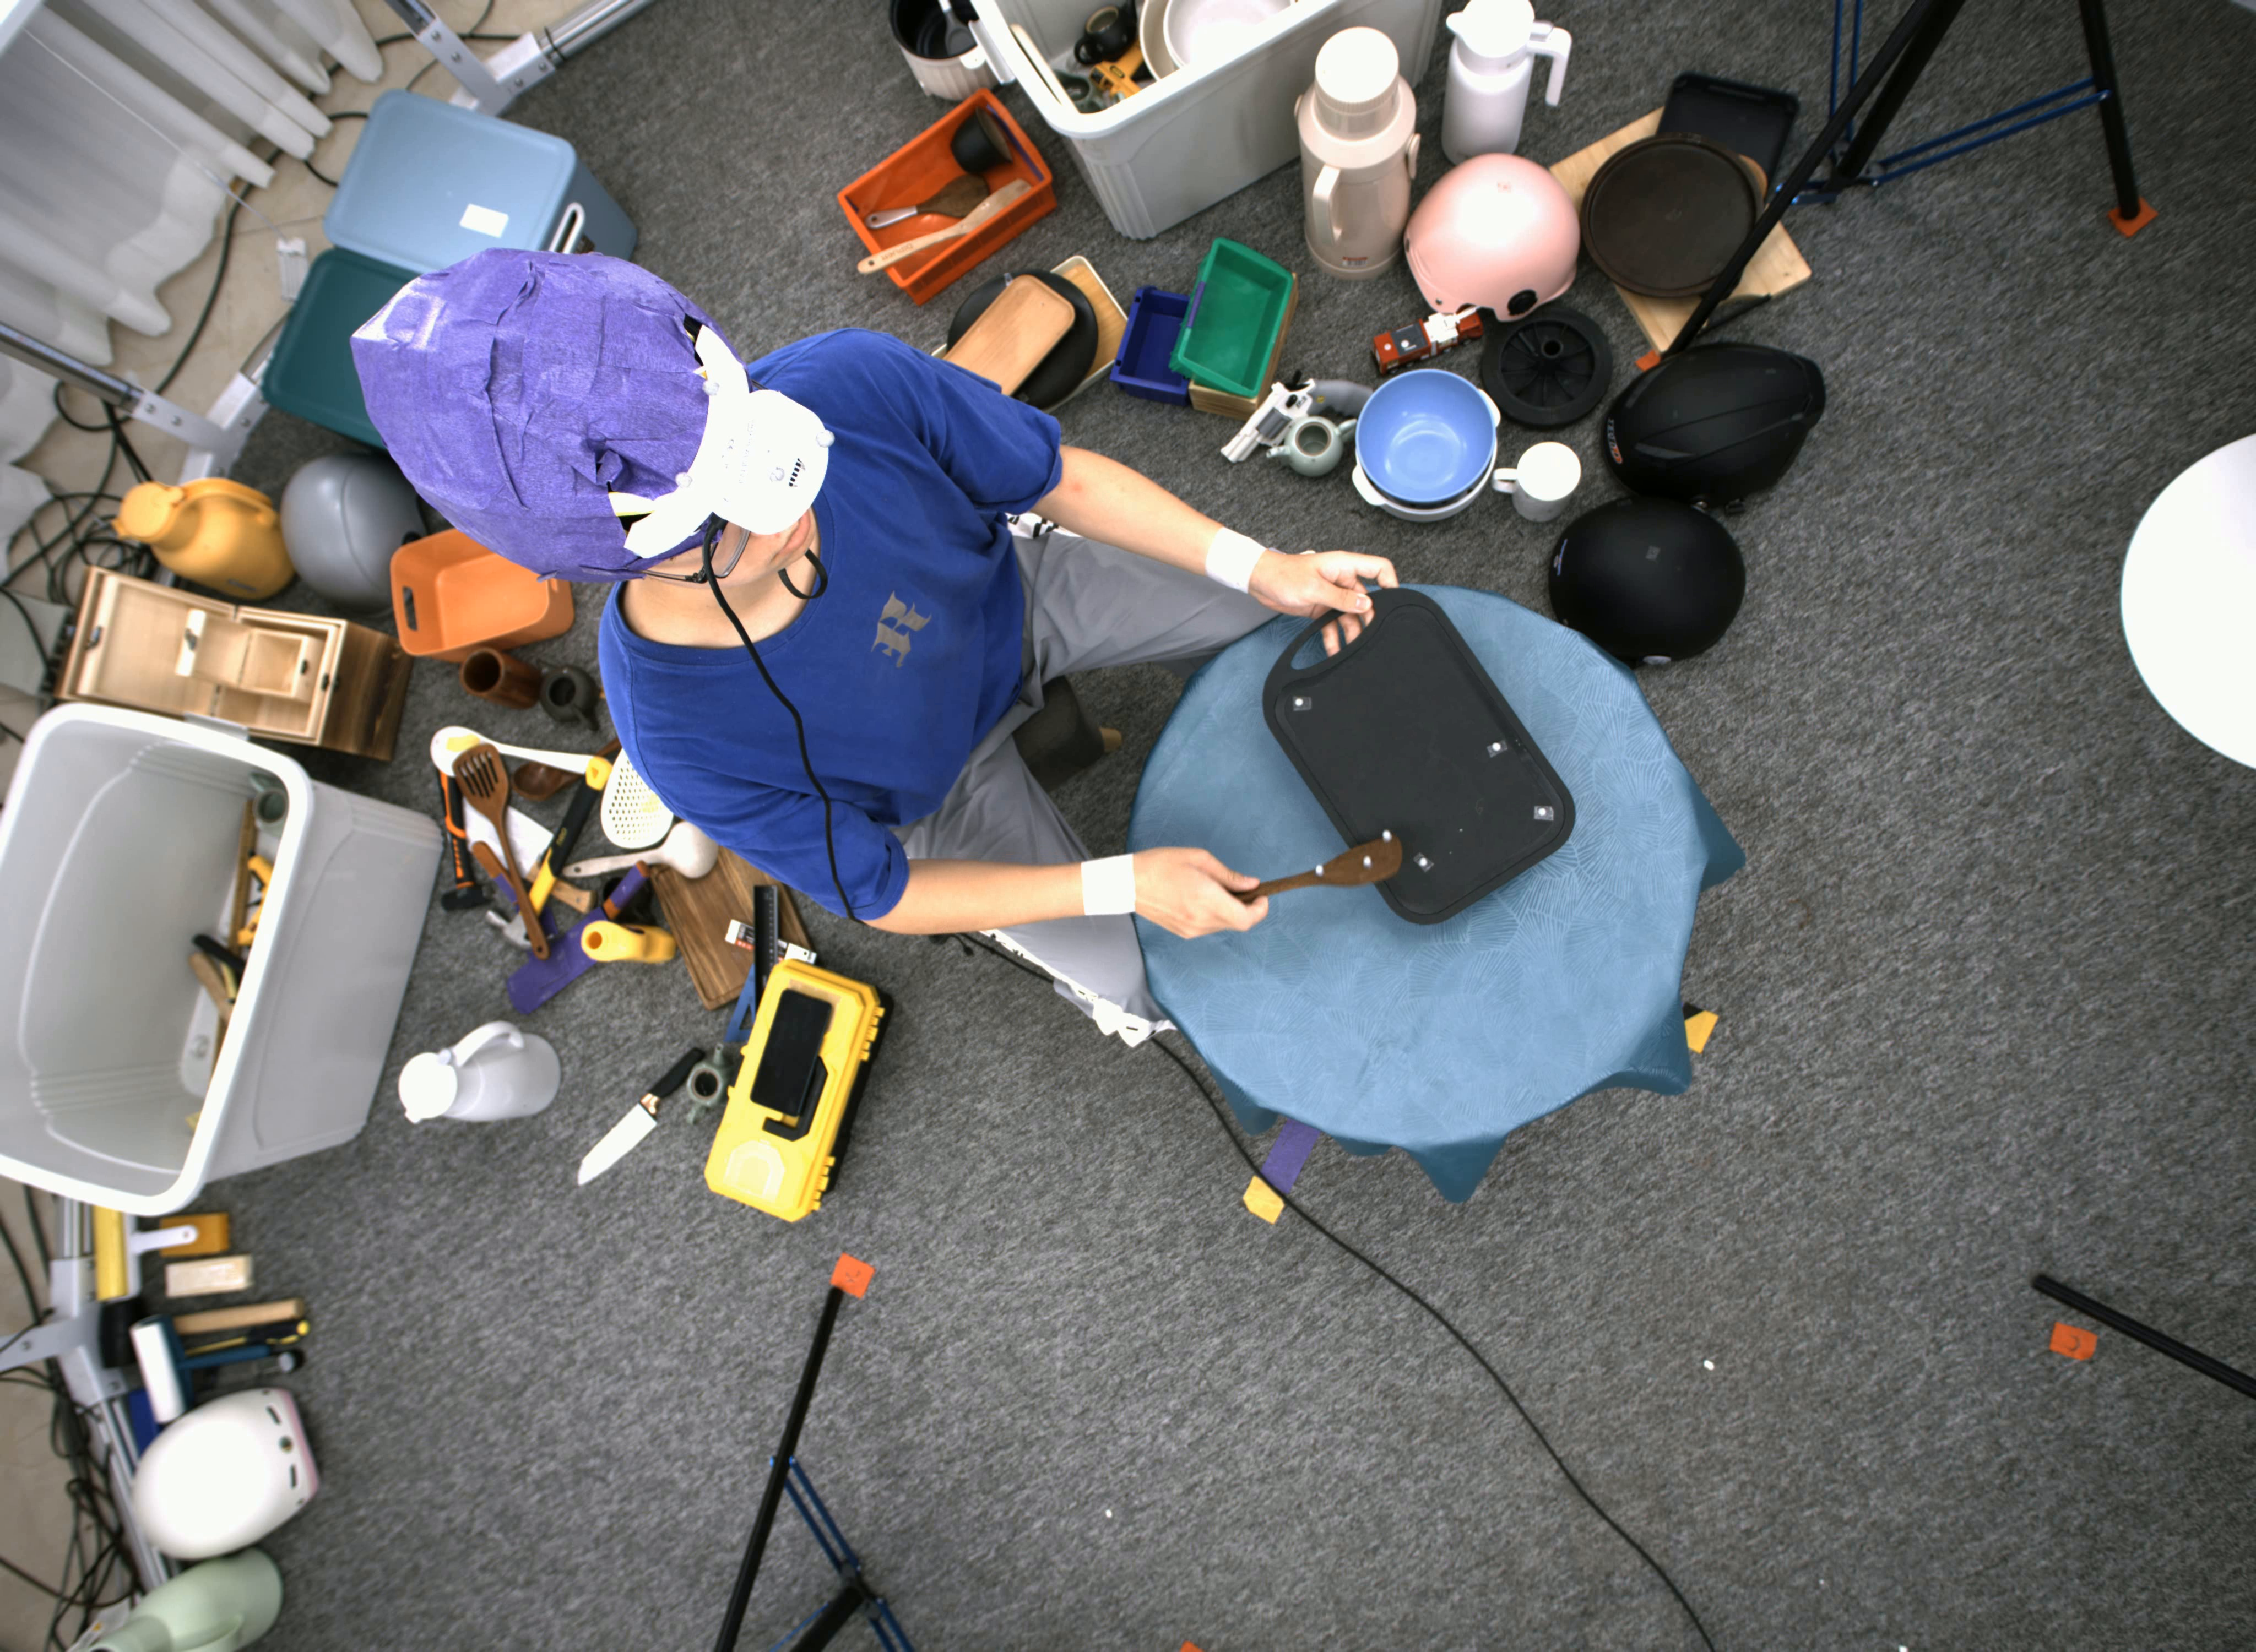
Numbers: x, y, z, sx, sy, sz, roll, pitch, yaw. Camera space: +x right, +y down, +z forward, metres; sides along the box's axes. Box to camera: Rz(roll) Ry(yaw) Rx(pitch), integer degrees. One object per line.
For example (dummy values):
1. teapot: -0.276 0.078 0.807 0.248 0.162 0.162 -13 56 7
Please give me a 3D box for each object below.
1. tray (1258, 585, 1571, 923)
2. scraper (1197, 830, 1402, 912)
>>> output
1. tray: 0.276 -0.078 1.366 0.214 0.009 0.324 -35 87 19
2. scraper: 0.167 0.050 1.362 0.213 0.074 0.011 -17 114 16
